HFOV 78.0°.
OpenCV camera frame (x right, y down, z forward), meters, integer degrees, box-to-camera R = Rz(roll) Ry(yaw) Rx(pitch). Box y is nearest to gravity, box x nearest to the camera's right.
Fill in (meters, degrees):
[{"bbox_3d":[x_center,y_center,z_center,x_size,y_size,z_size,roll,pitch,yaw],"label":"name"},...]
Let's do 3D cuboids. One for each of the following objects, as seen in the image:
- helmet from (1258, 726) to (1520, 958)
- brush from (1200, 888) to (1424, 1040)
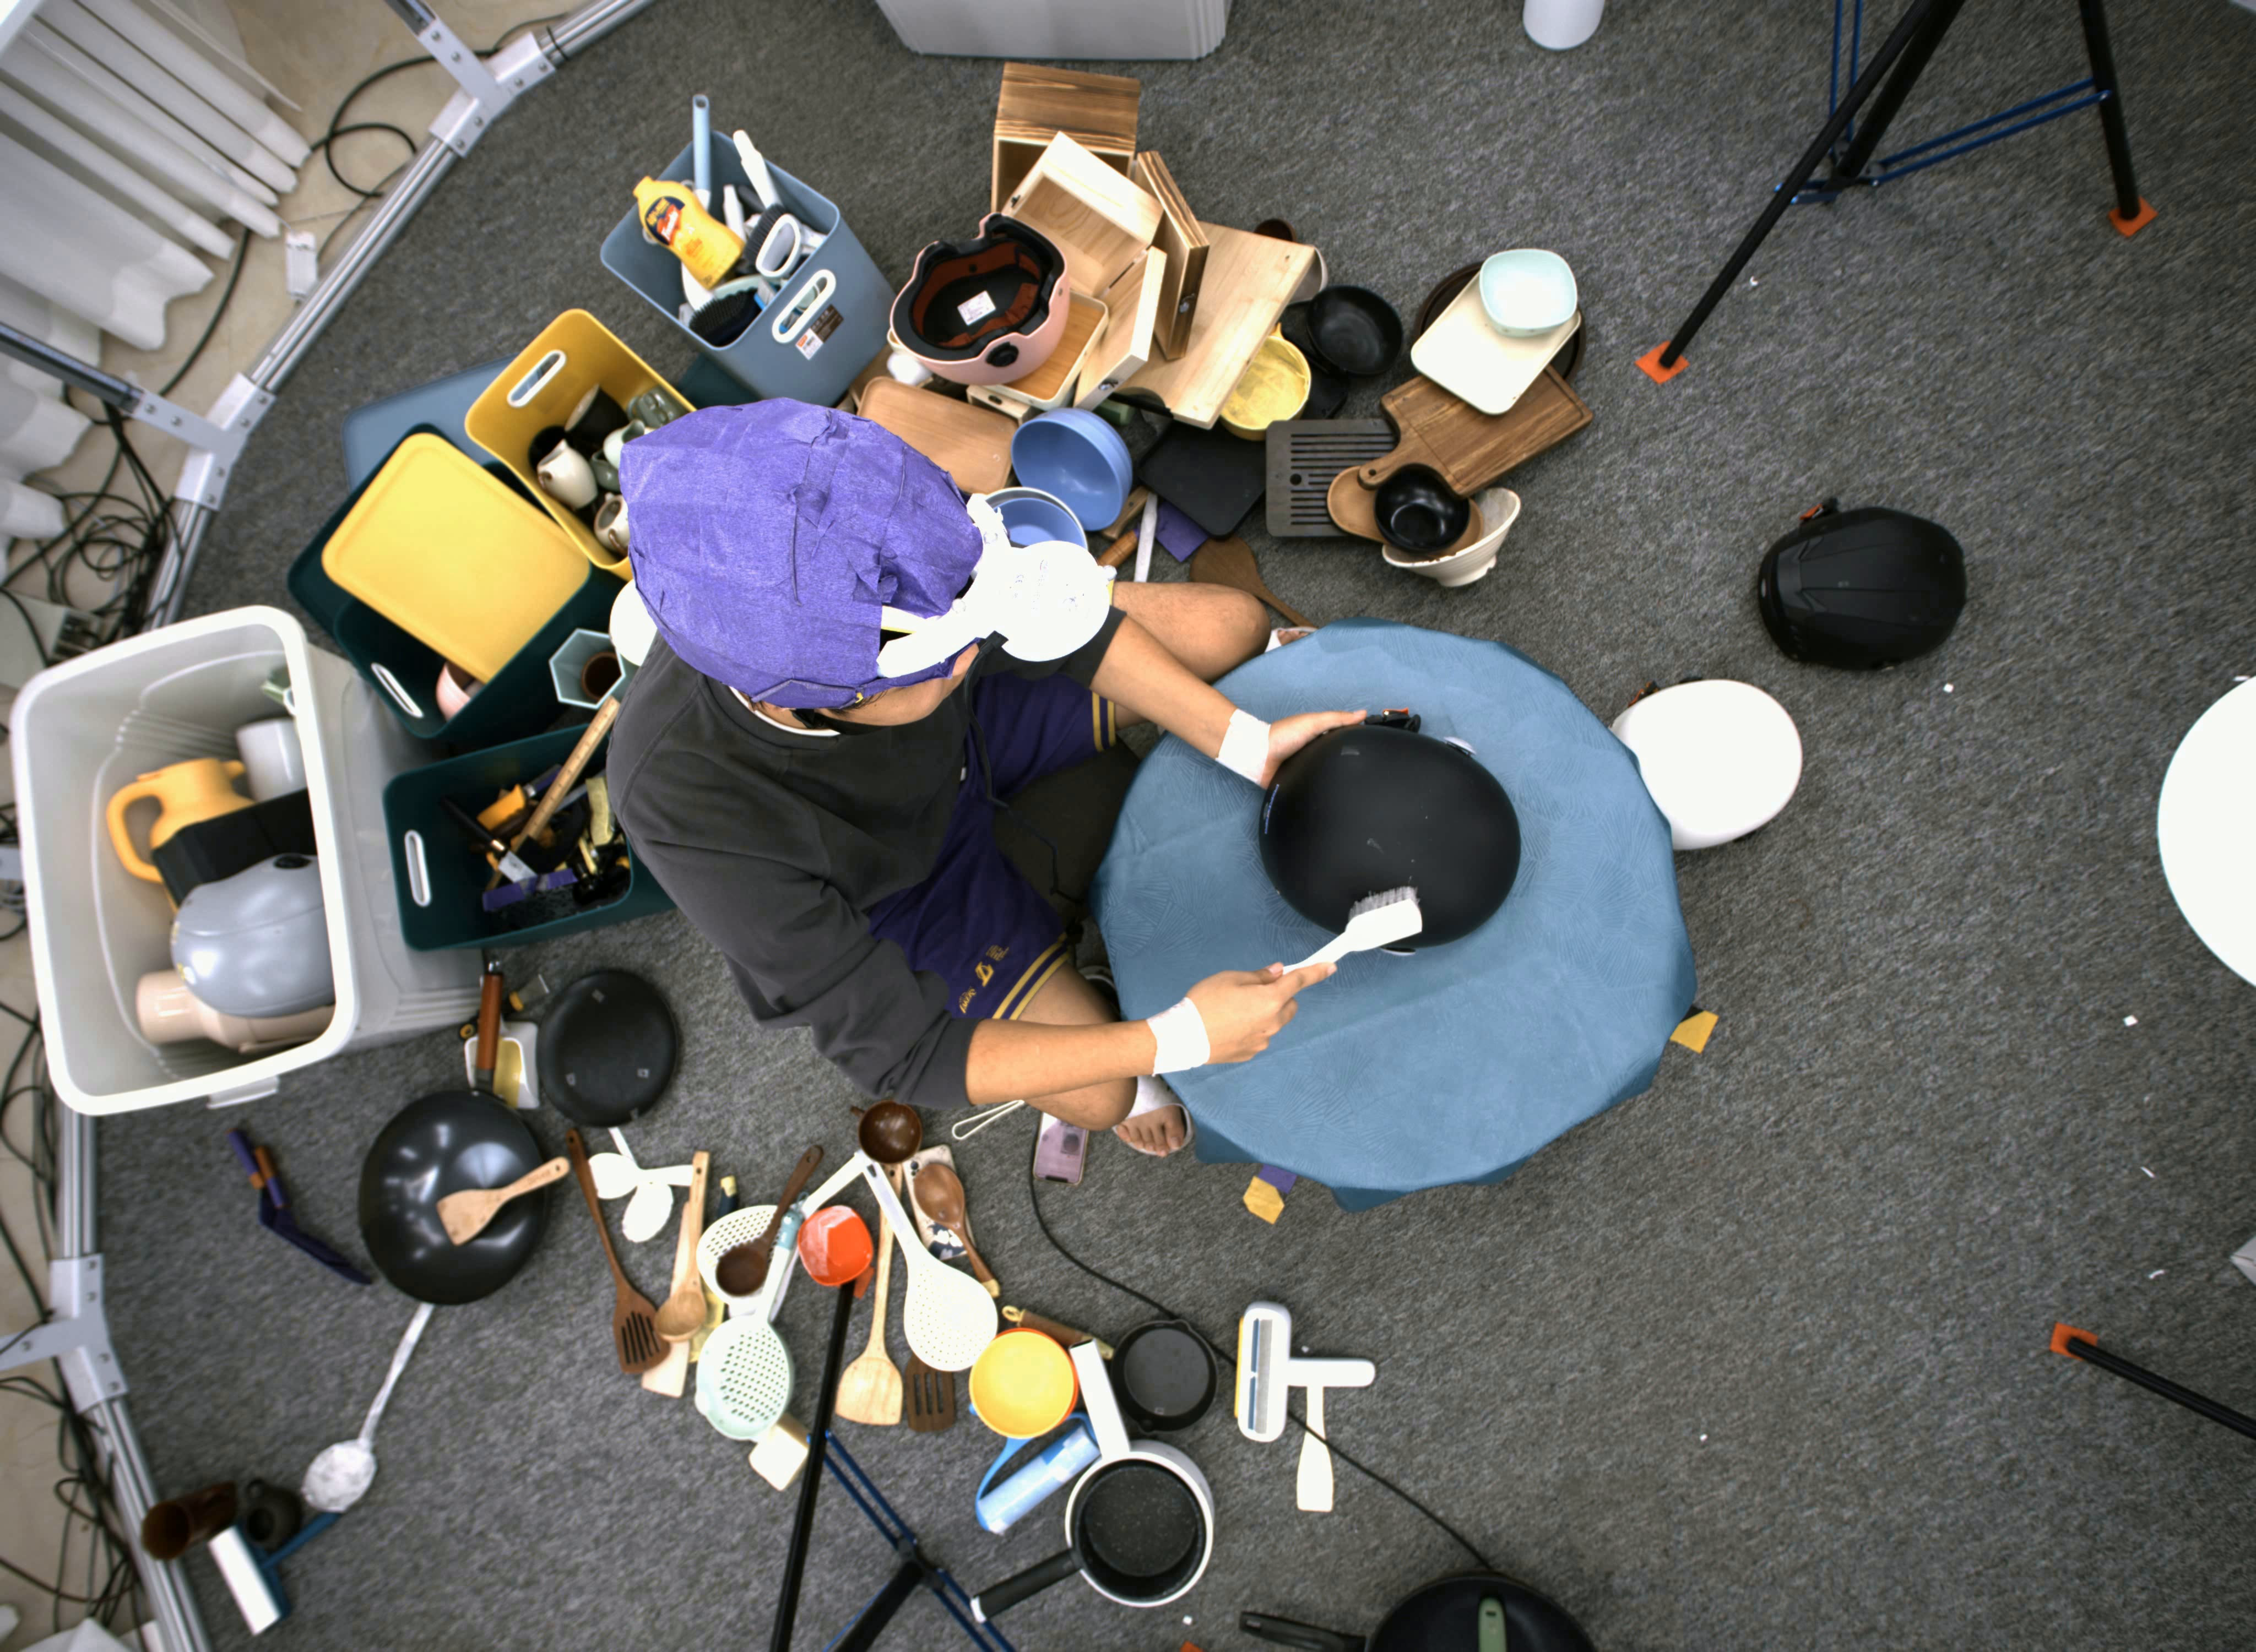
[{"bbox_3d":[0.263,0.015,1.376,0.273,0.165,0.231,19,98,7],"label":"helmet"},{"bbox_3d":[0.169,0.126,1.294,0.243,0.049,0.035,-28,115,-3],"label":"brush"}]
